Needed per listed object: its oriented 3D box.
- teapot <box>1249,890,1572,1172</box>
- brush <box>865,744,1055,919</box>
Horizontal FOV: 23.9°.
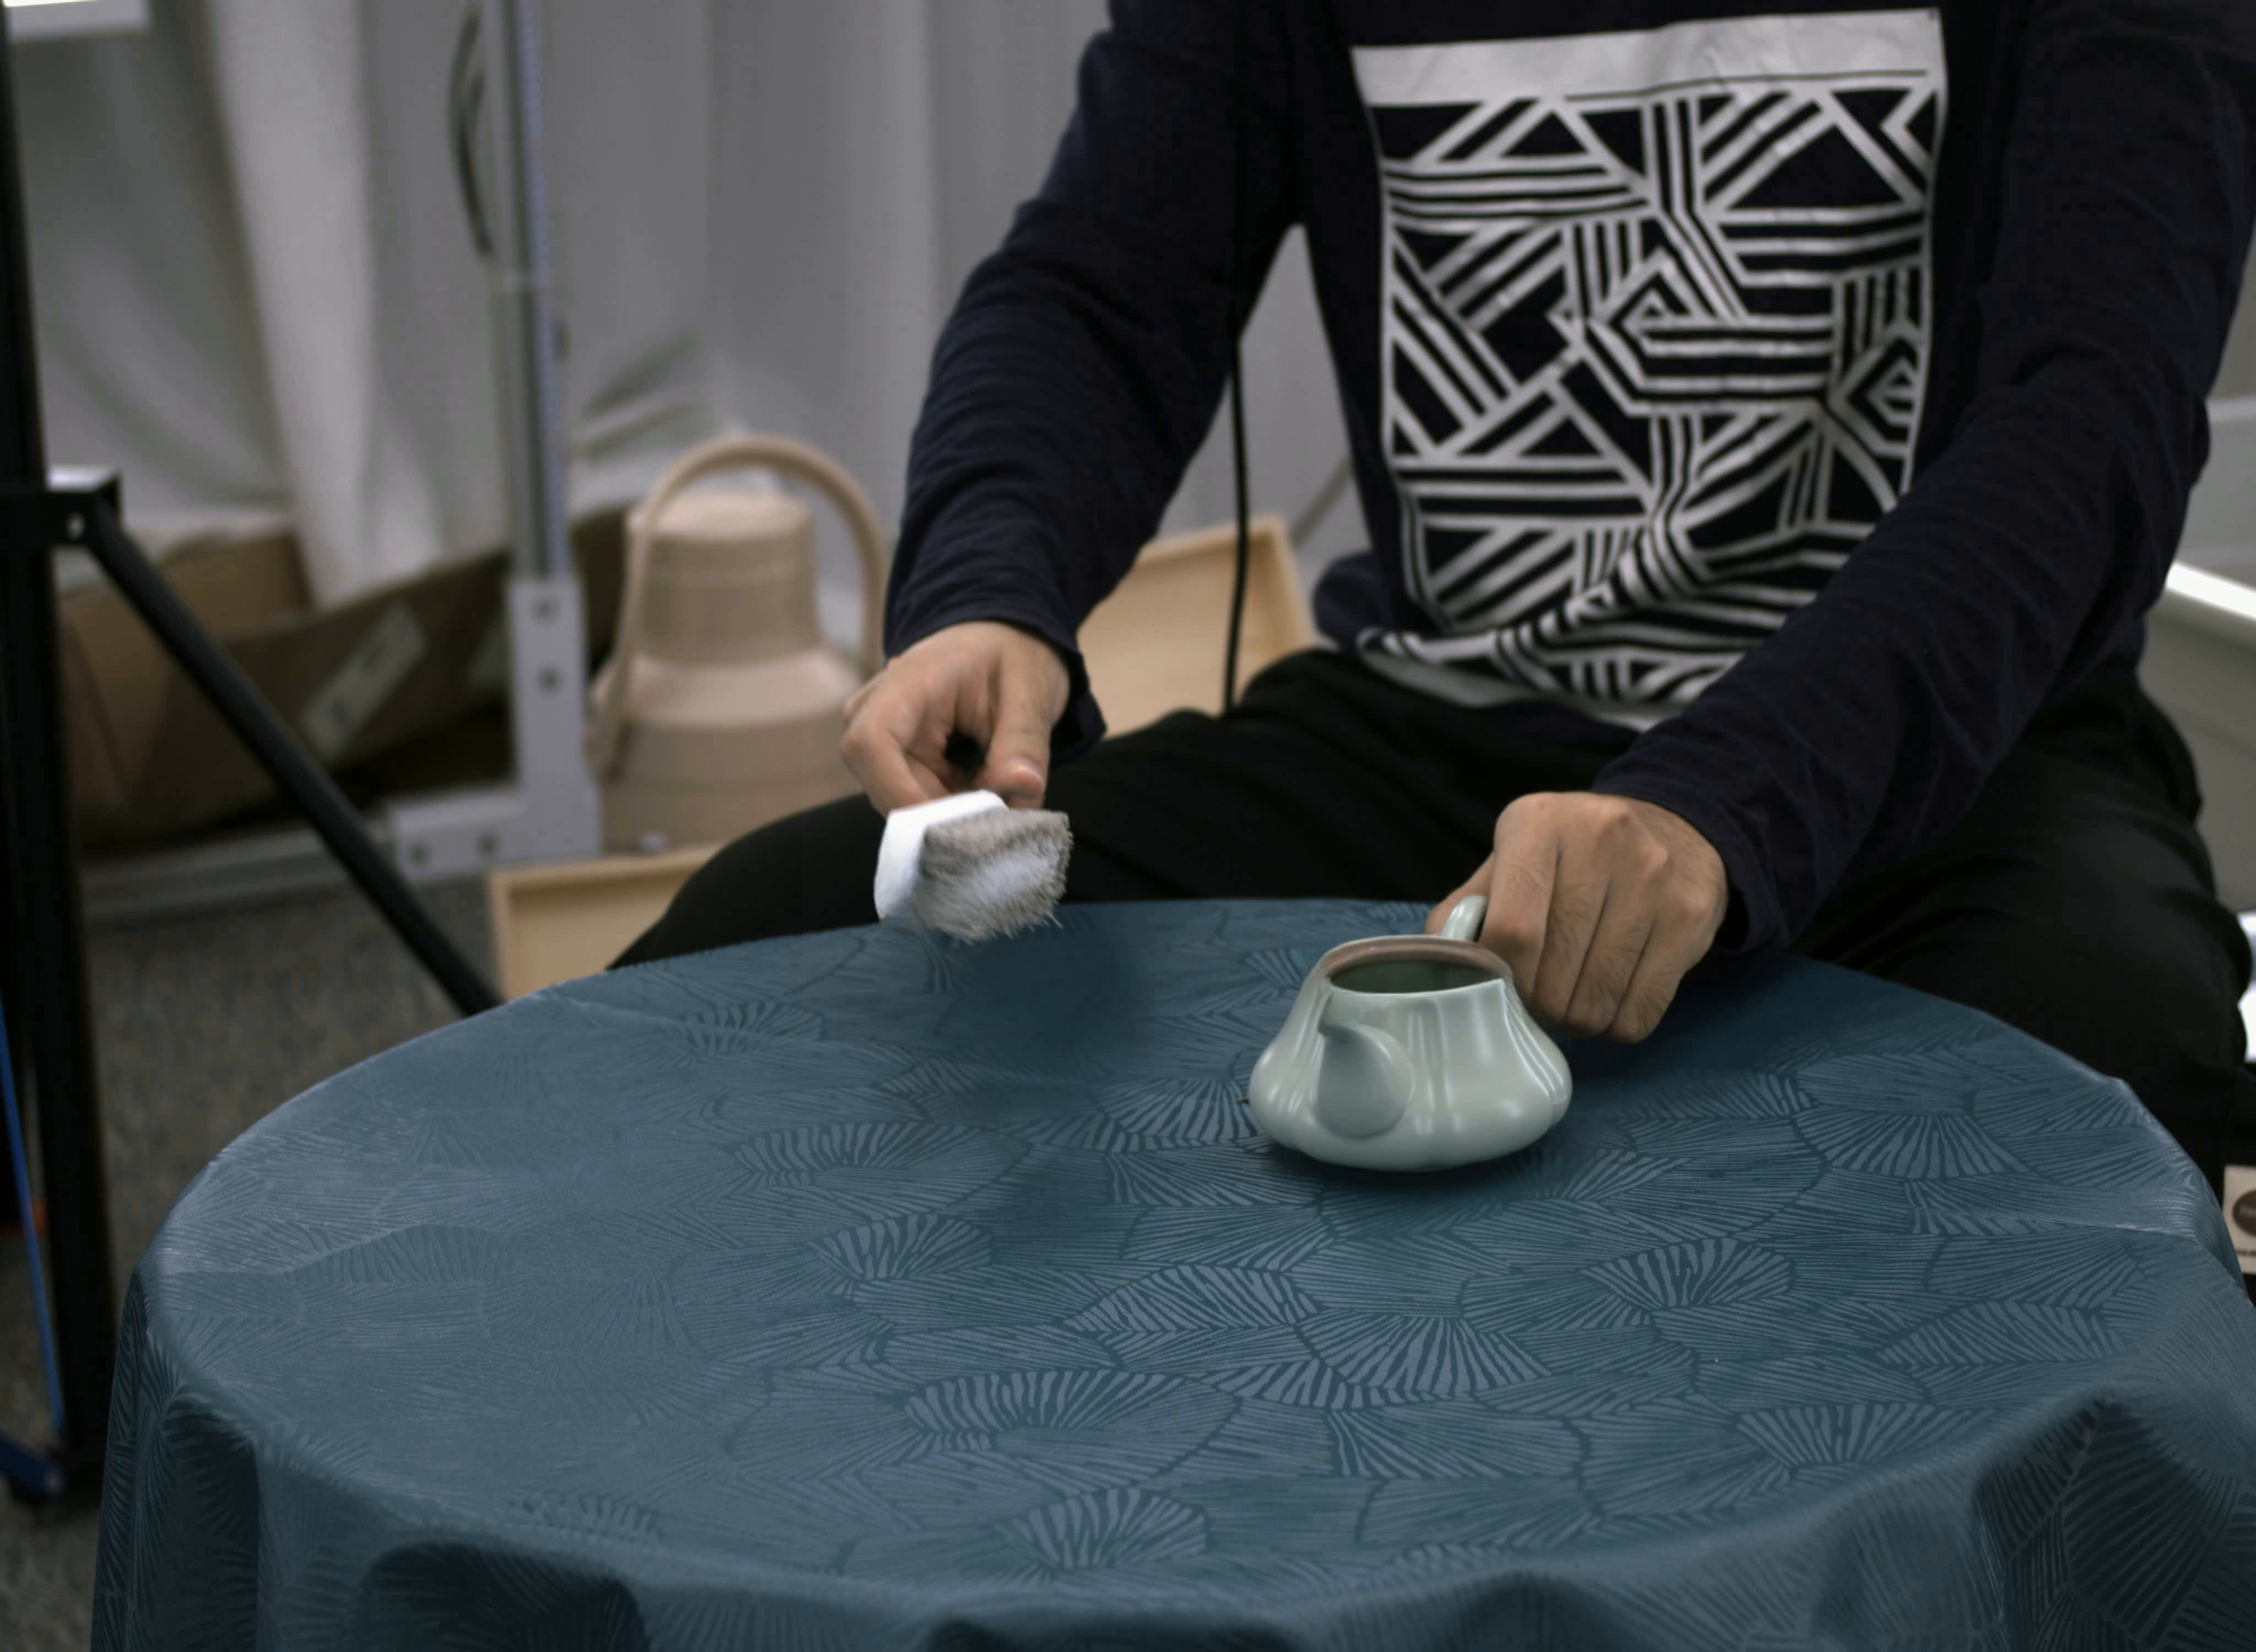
[{"bbox_3d":[0.085,0.065,1.587,0.097,0.061,0.135,1,17,23],"label":"teapot"},{"bbox_3d":[-0.040,-0.001,1.664,0.050,0.034,0.242,7,7,6],"label":"brush"}]
